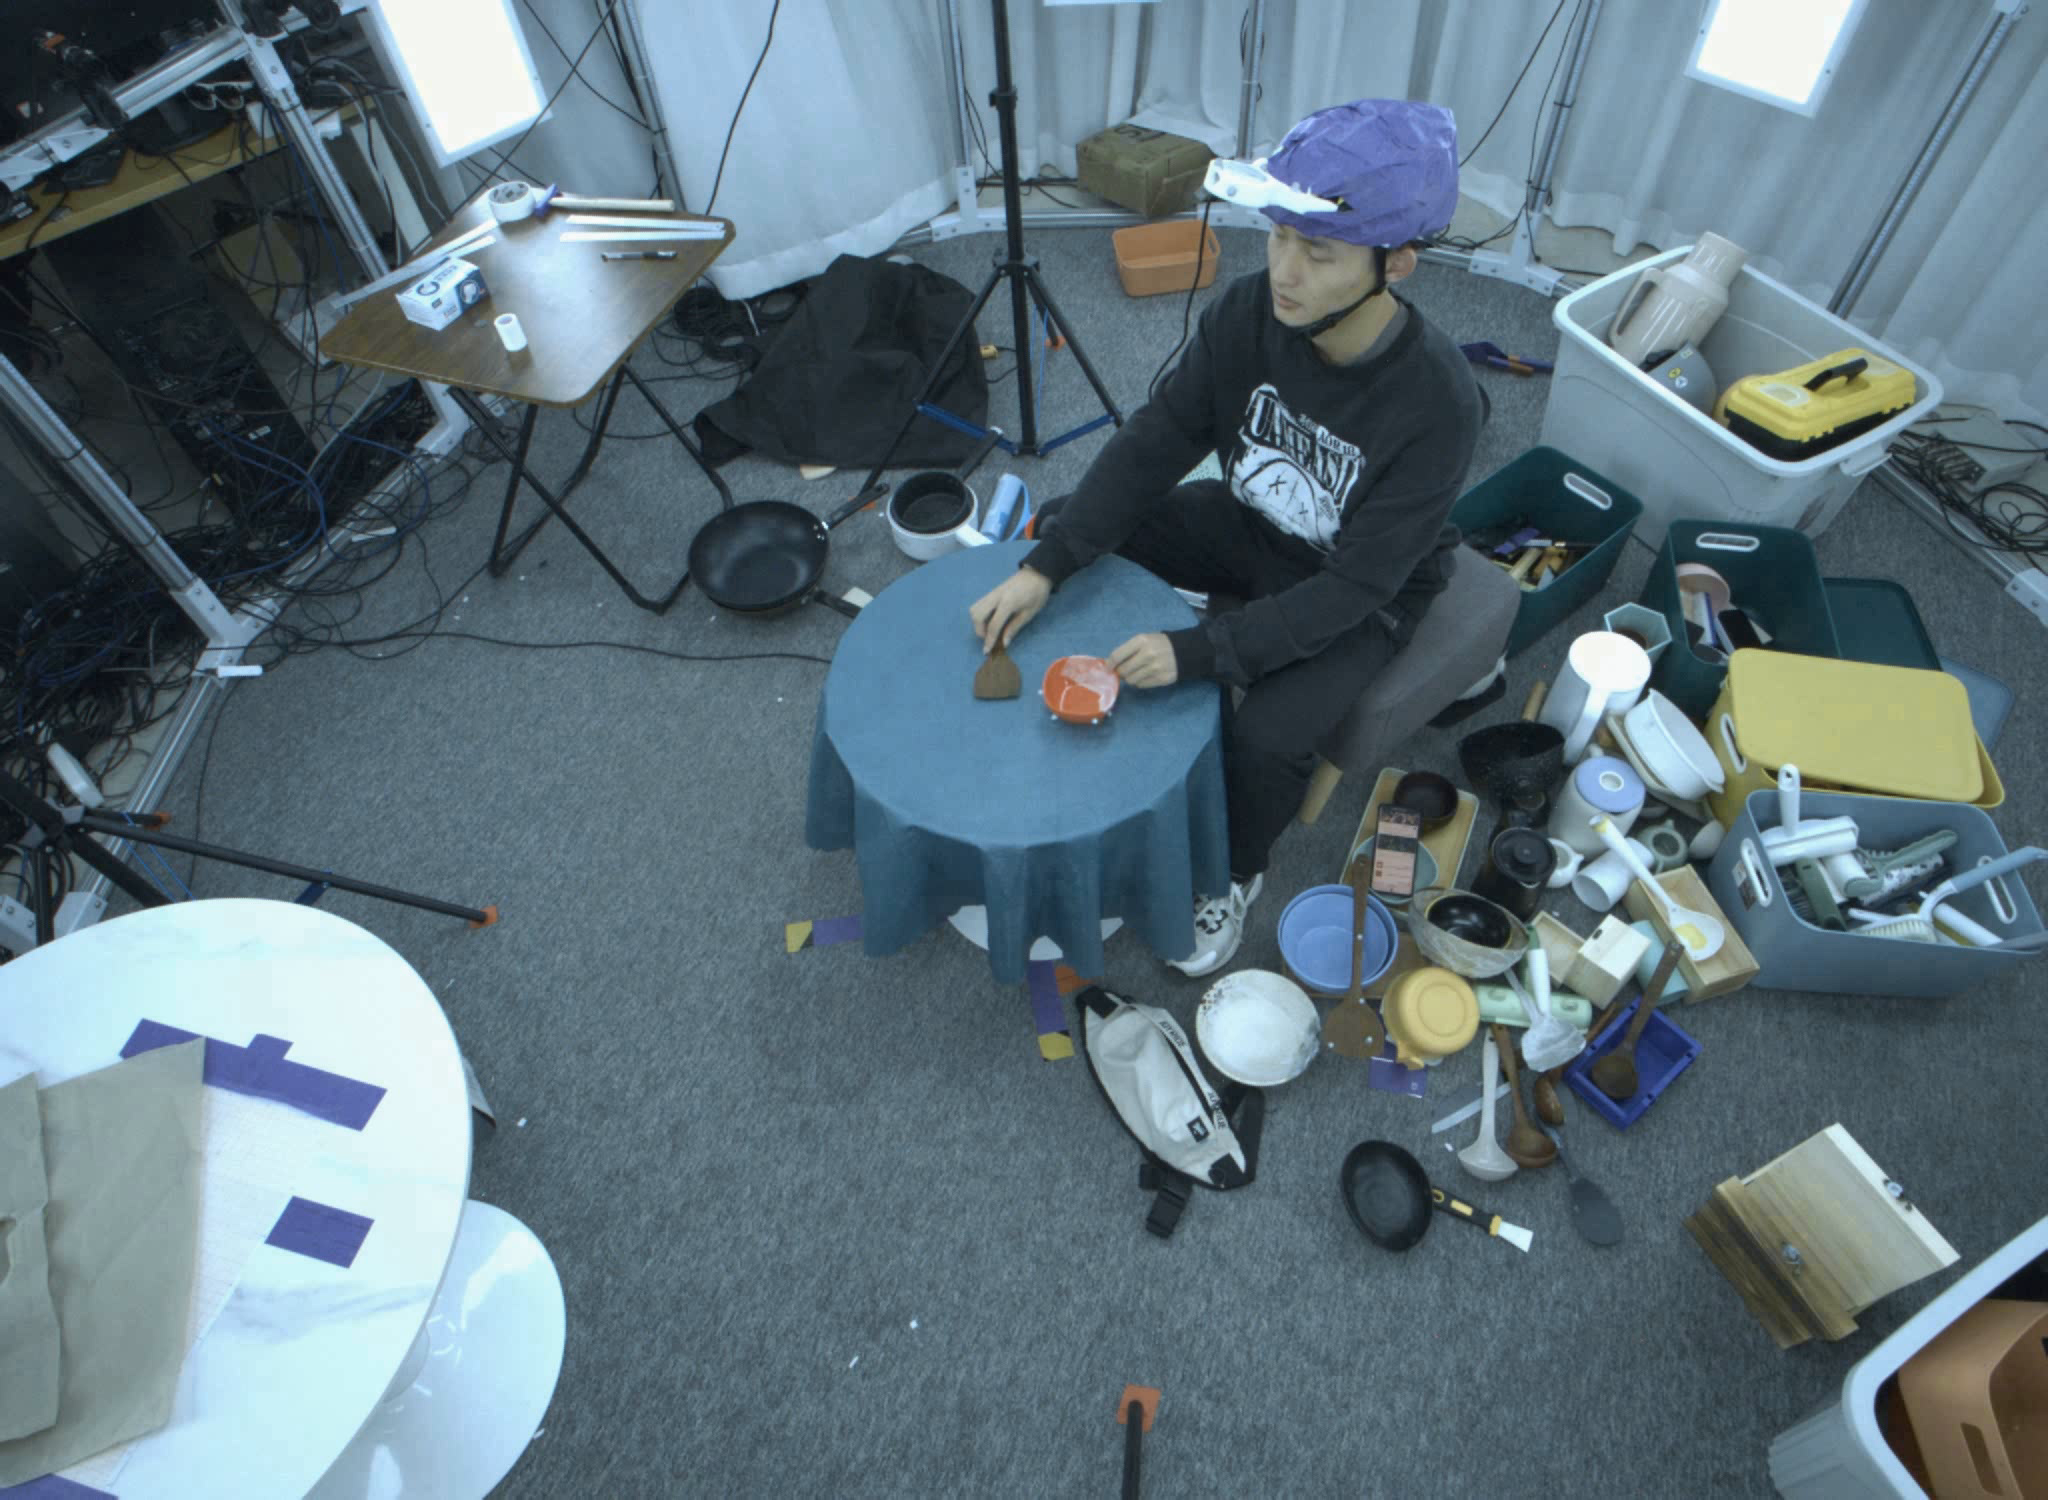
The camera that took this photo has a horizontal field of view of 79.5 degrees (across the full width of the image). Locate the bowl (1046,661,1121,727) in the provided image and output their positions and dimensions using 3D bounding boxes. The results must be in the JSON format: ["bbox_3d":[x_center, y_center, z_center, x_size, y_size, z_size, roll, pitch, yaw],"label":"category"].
[{"bbox_3d":[0.088,-0.075,1.820,0.119,0.052,0.117,-1,54,3],"label":"bowl"}]

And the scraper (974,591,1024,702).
[{"bbox_3d":[-0.039,-0.161,1.900,0.076,0.011,0.209,-1,60,0],"label":"scraper"}]
